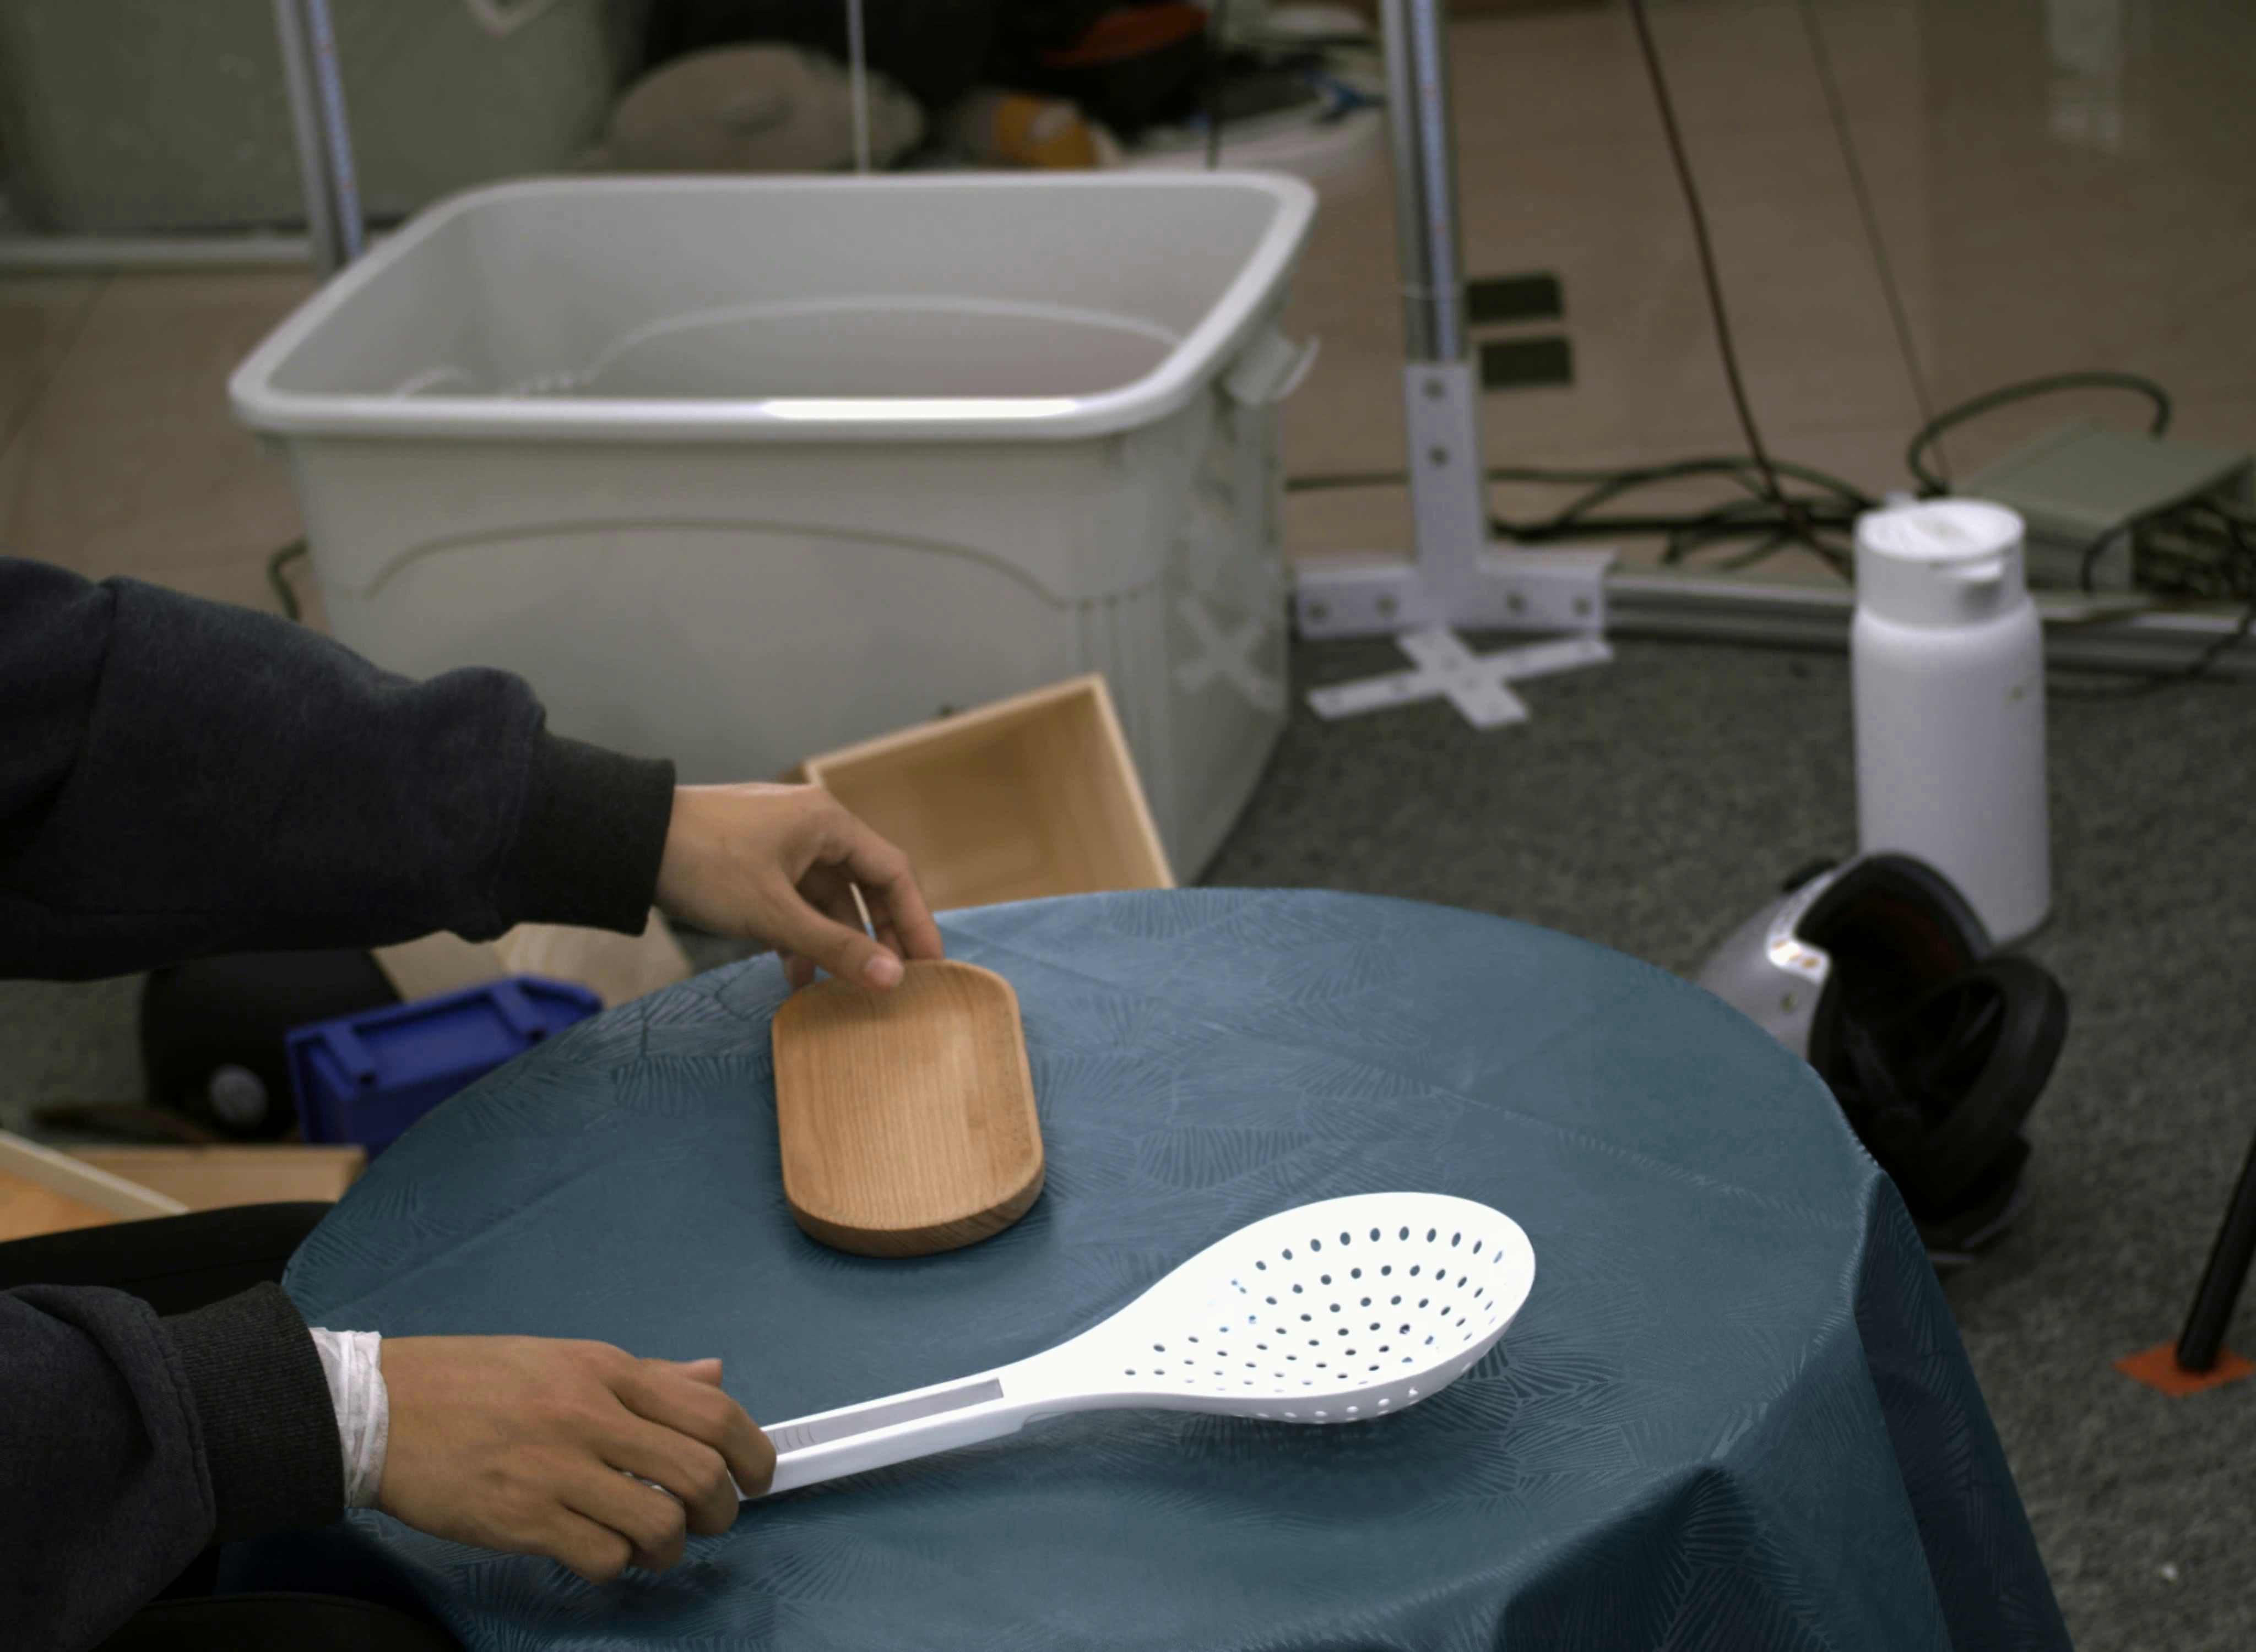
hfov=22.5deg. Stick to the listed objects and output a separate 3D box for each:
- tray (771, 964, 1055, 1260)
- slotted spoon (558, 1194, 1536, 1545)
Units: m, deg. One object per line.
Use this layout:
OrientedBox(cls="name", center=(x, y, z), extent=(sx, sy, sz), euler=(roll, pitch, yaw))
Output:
OrientedBox(cls="tray", center=(-0.085, 0.110, 2.212), extent=(0.101, 0.020, 0.228), euler=(-9, 26, -3))
OrientedBox(cls="slotted spoon", center=(-0.027, 0.196, 1.977), extent=(0.349, 0.046, 0.134), euler=(-10, 23, -6))
